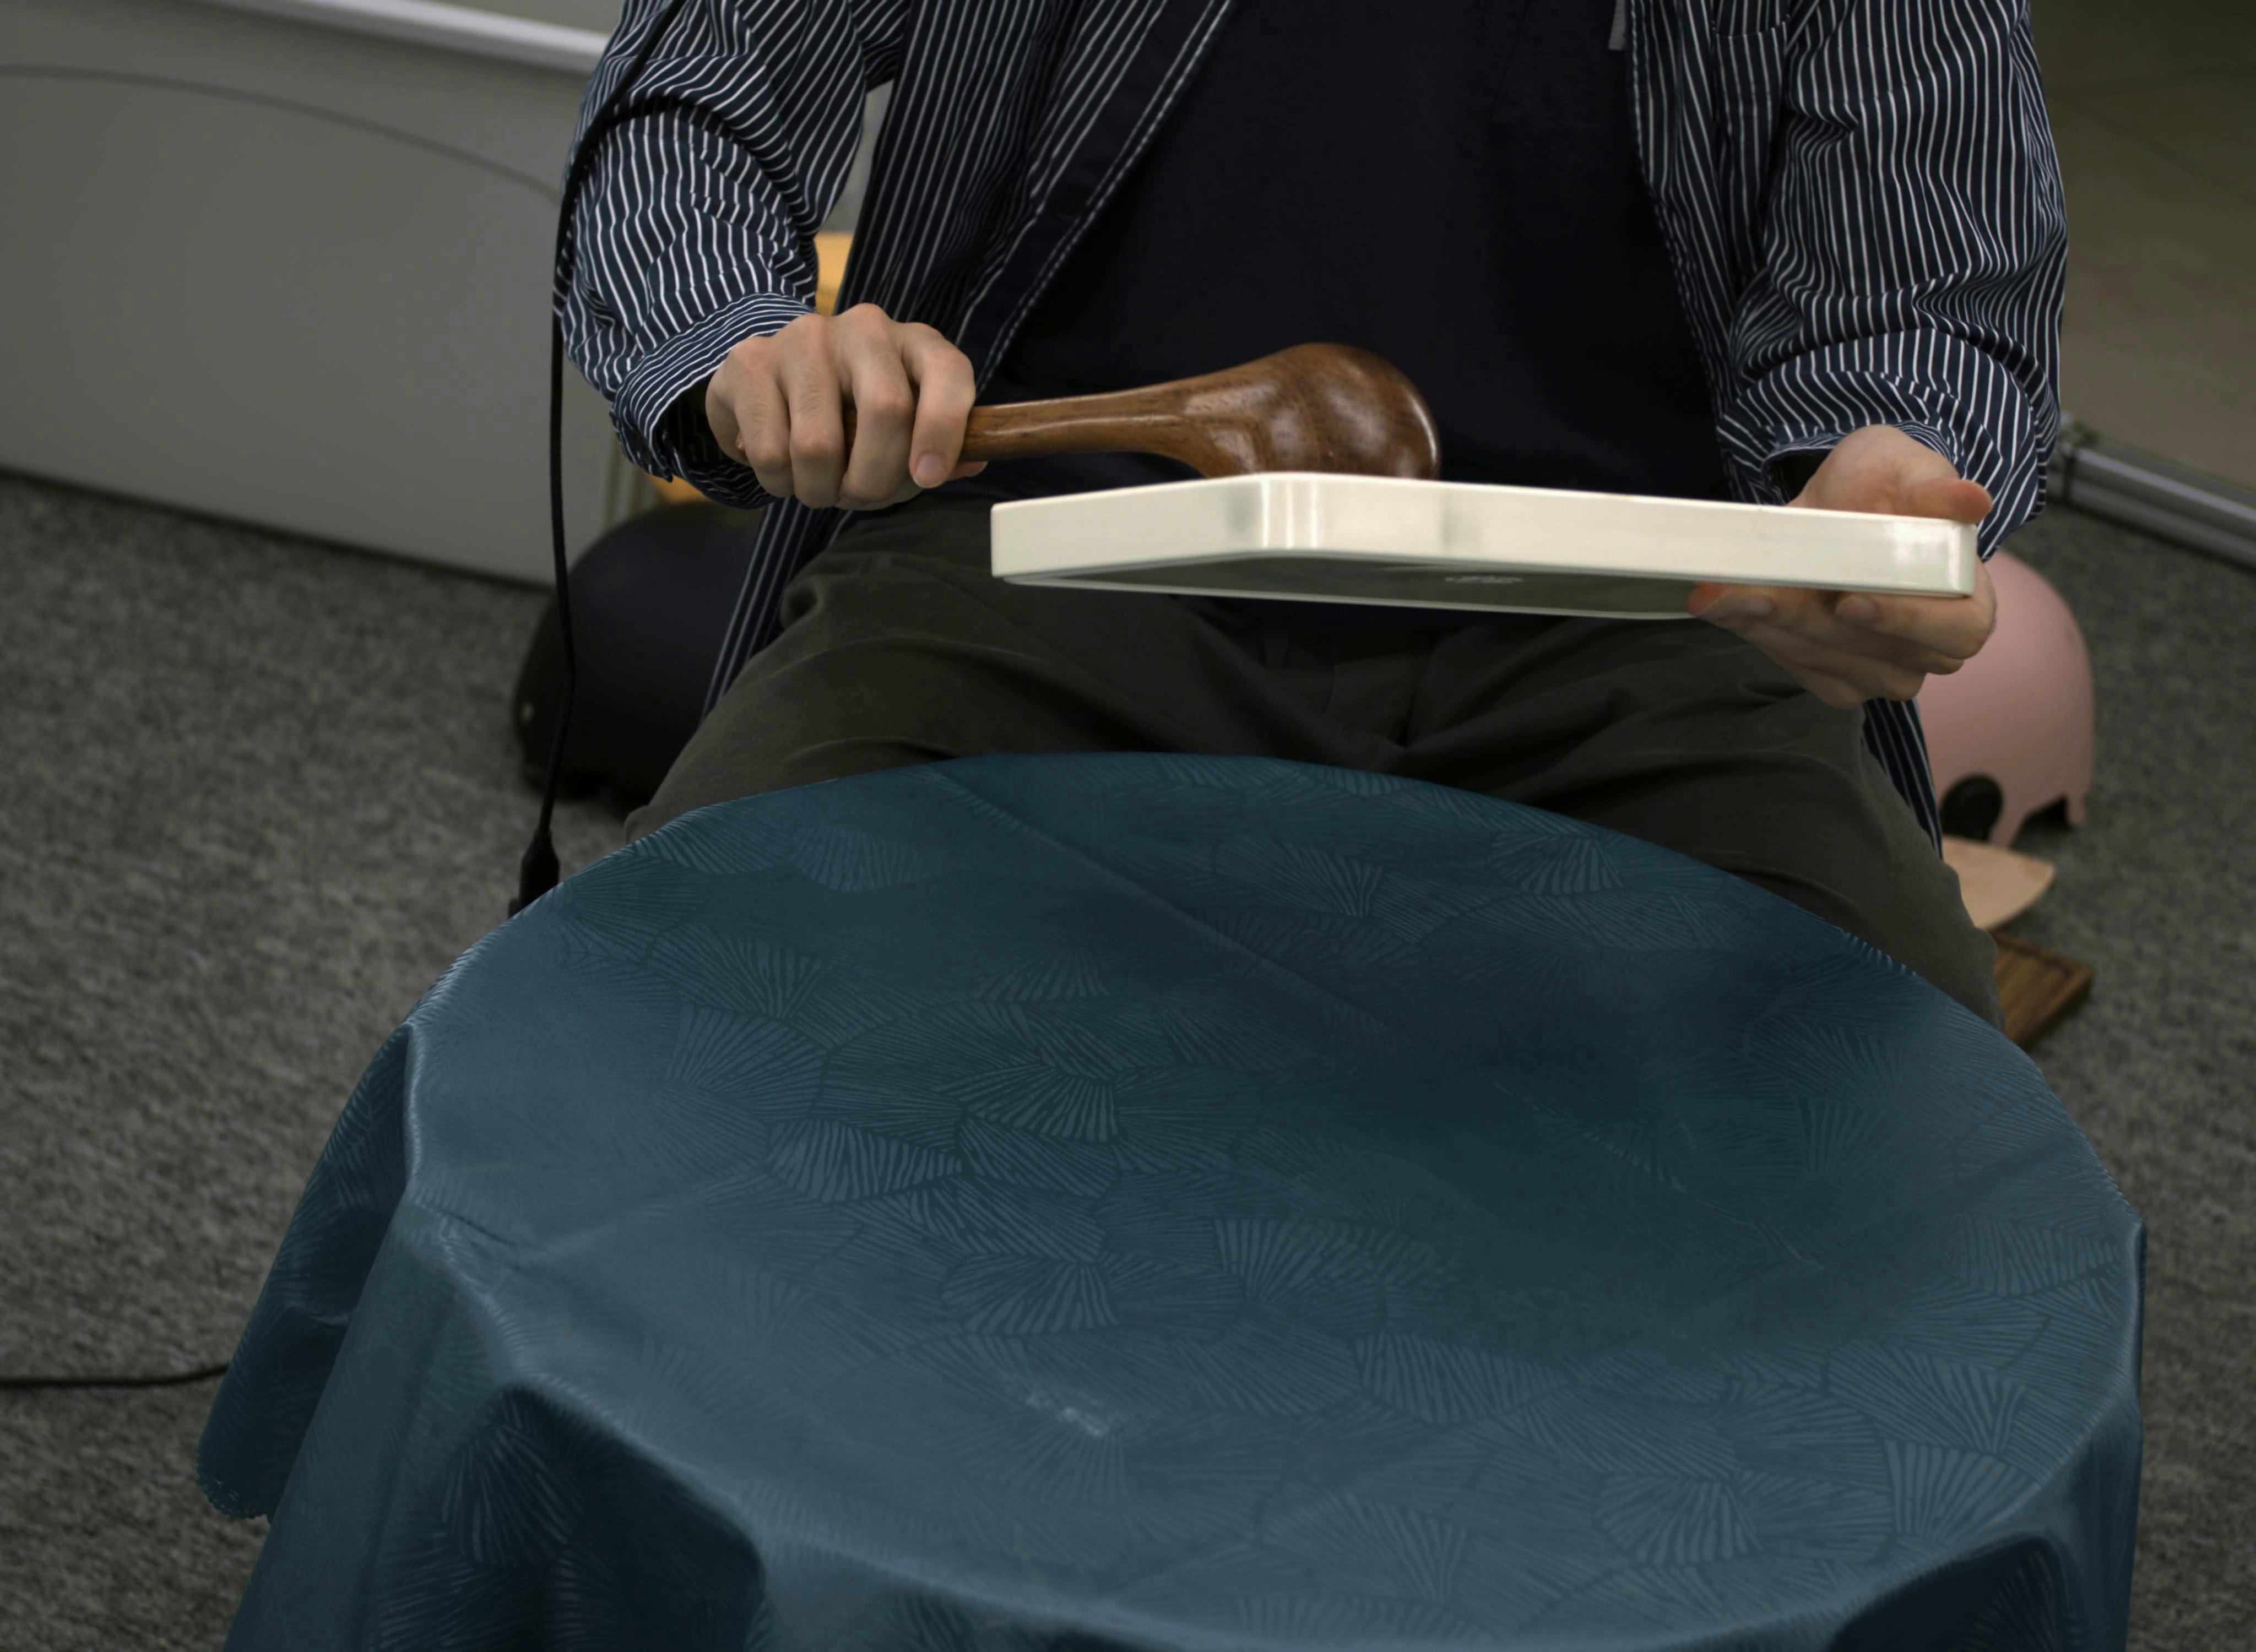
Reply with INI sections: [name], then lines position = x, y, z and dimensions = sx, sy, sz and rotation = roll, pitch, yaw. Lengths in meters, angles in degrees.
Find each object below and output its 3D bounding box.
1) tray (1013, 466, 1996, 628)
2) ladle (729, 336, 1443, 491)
[tray]
position = 0.129, -0.093, 1.831
dimensions = 0.298, 0.027, 0.192
rotation = 2, -3, -31
[ladle]
position = -0.015, -0.128, 1.888
dimensions = 0.275, 0.076, 0.082
rotation = -3, 54, 37
